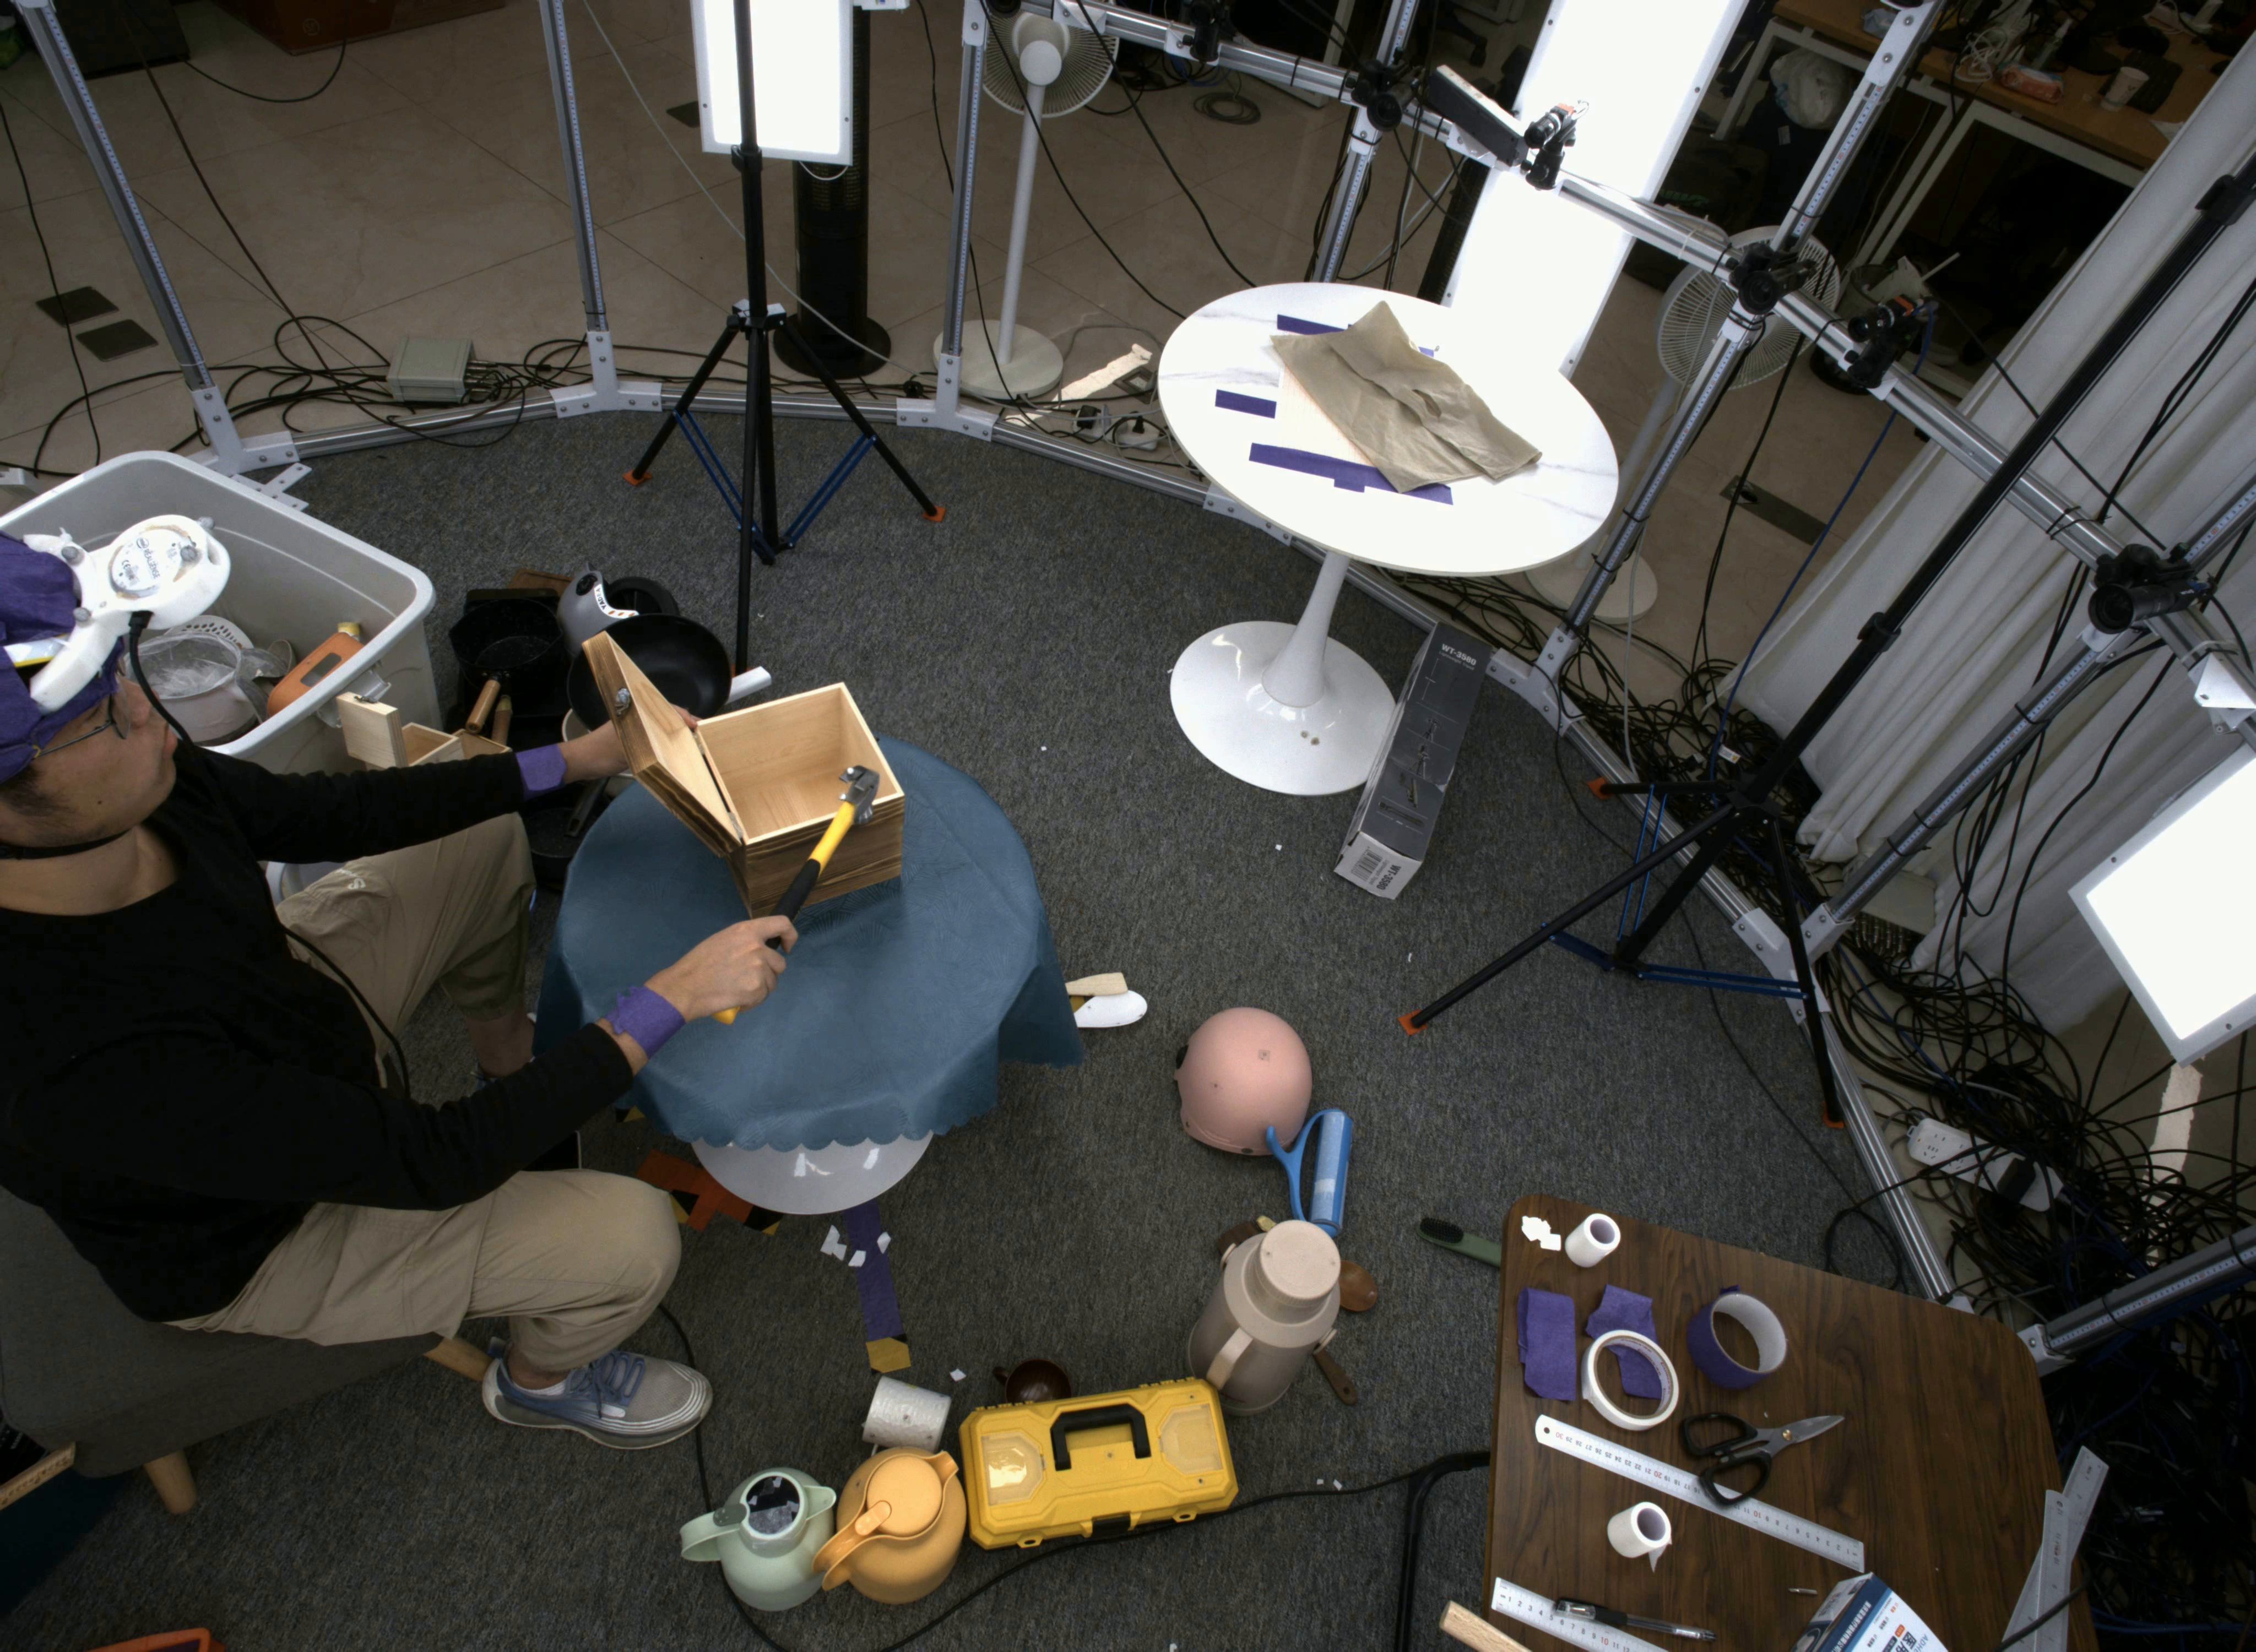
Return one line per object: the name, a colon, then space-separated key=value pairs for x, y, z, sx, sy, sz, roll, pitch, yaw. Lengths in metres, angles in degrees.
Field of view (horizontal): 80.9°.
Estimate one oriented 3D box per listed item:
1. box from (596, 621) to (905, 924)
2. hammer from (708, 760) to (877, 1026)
box: x=-0.446 y=-0.078 z=1.540 sx=0.324 sy=0.383 sz=0.203 roll=-20 pitch=59 yaw=-25
hammer: x=-0.361 y=0.066 z=1.409 sx=0.032 sy=0.133 sz=0.336 roll=25 pitch=58 yaw=0
